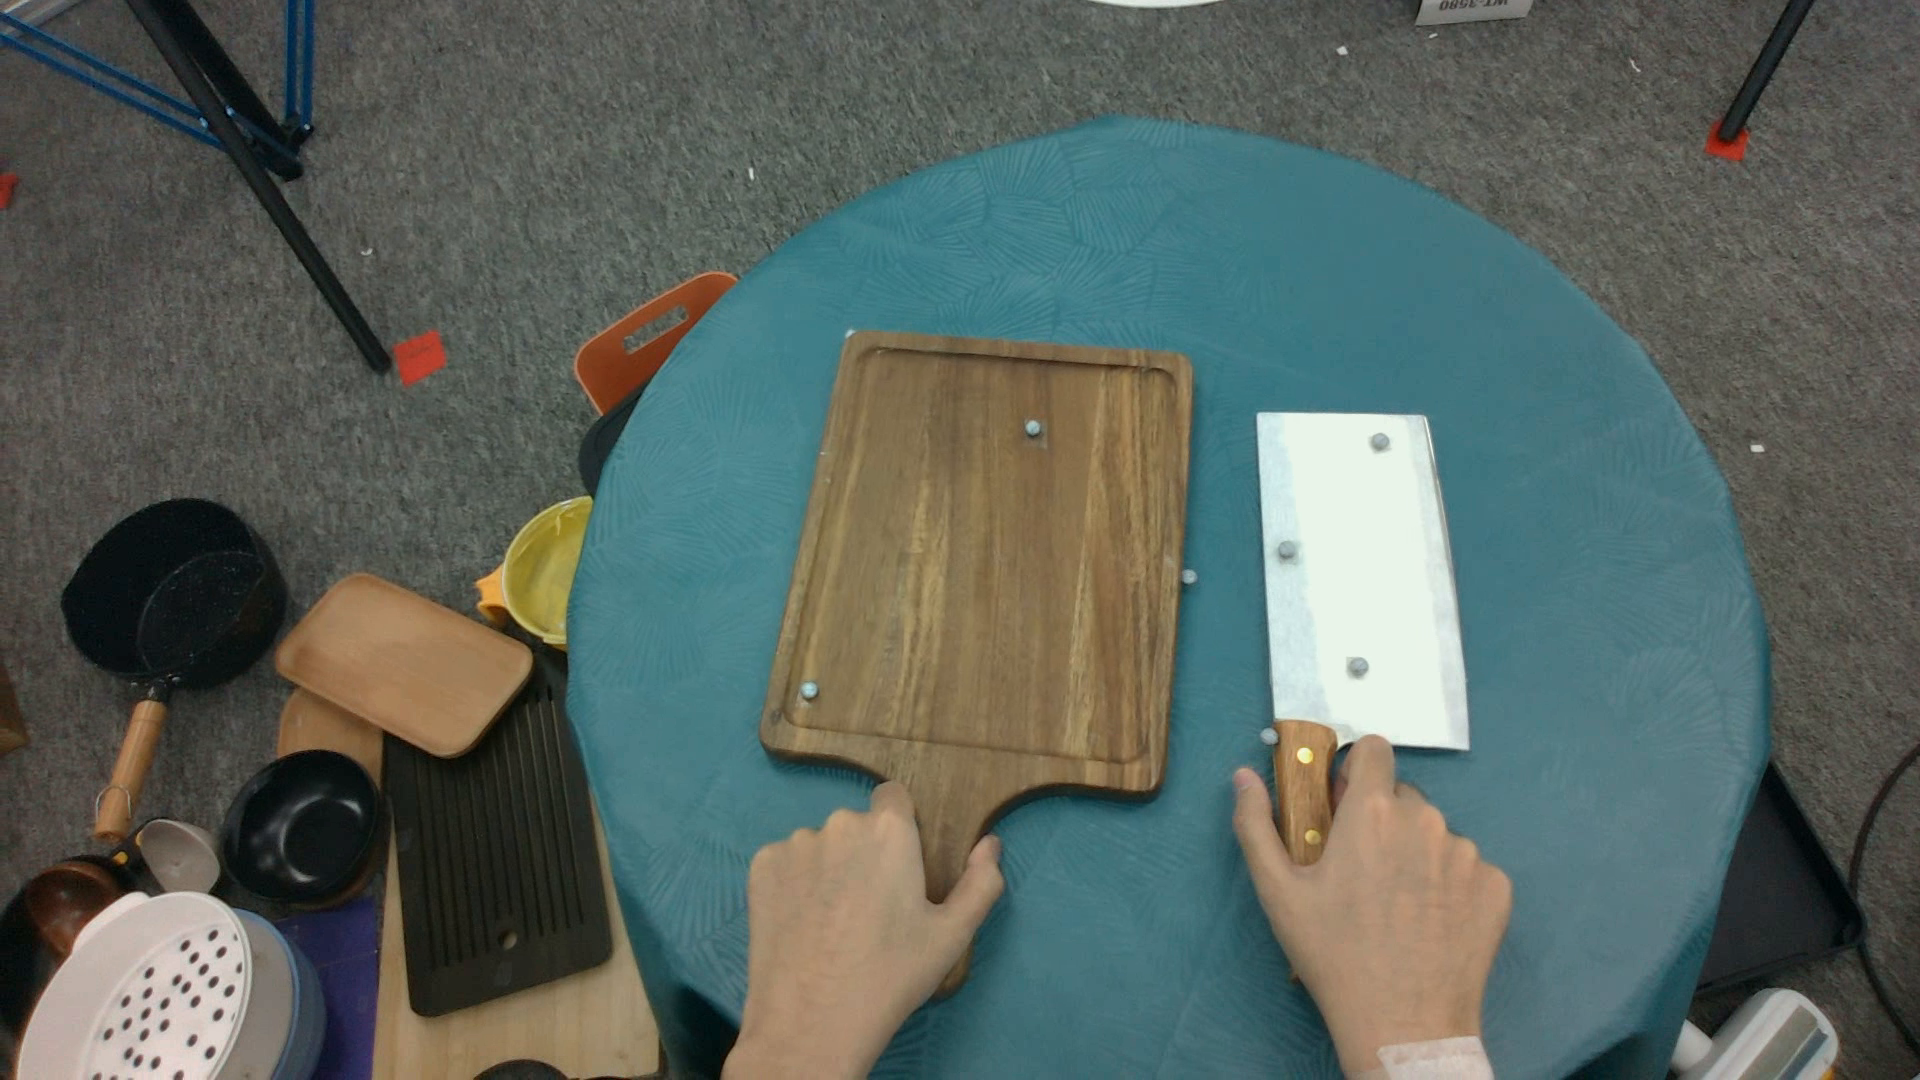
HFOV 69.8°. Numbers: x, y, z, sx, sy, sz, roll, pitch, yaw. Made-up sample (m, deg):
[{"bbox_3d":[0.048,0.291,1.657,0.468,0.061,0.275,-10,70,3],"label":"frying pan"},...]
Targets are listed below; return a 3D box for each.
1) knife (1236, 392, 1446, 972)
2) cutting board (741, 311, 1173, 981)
[{"bbox_3d":[0.185,0.053,0.667,0.093,0.021,0.307,2,60,3],"label":"knife"},{"bbox_3d":[0.000,0.036,0.685,0.201,0.023,0.353,5,63,6],"label":"cutting board"}]
